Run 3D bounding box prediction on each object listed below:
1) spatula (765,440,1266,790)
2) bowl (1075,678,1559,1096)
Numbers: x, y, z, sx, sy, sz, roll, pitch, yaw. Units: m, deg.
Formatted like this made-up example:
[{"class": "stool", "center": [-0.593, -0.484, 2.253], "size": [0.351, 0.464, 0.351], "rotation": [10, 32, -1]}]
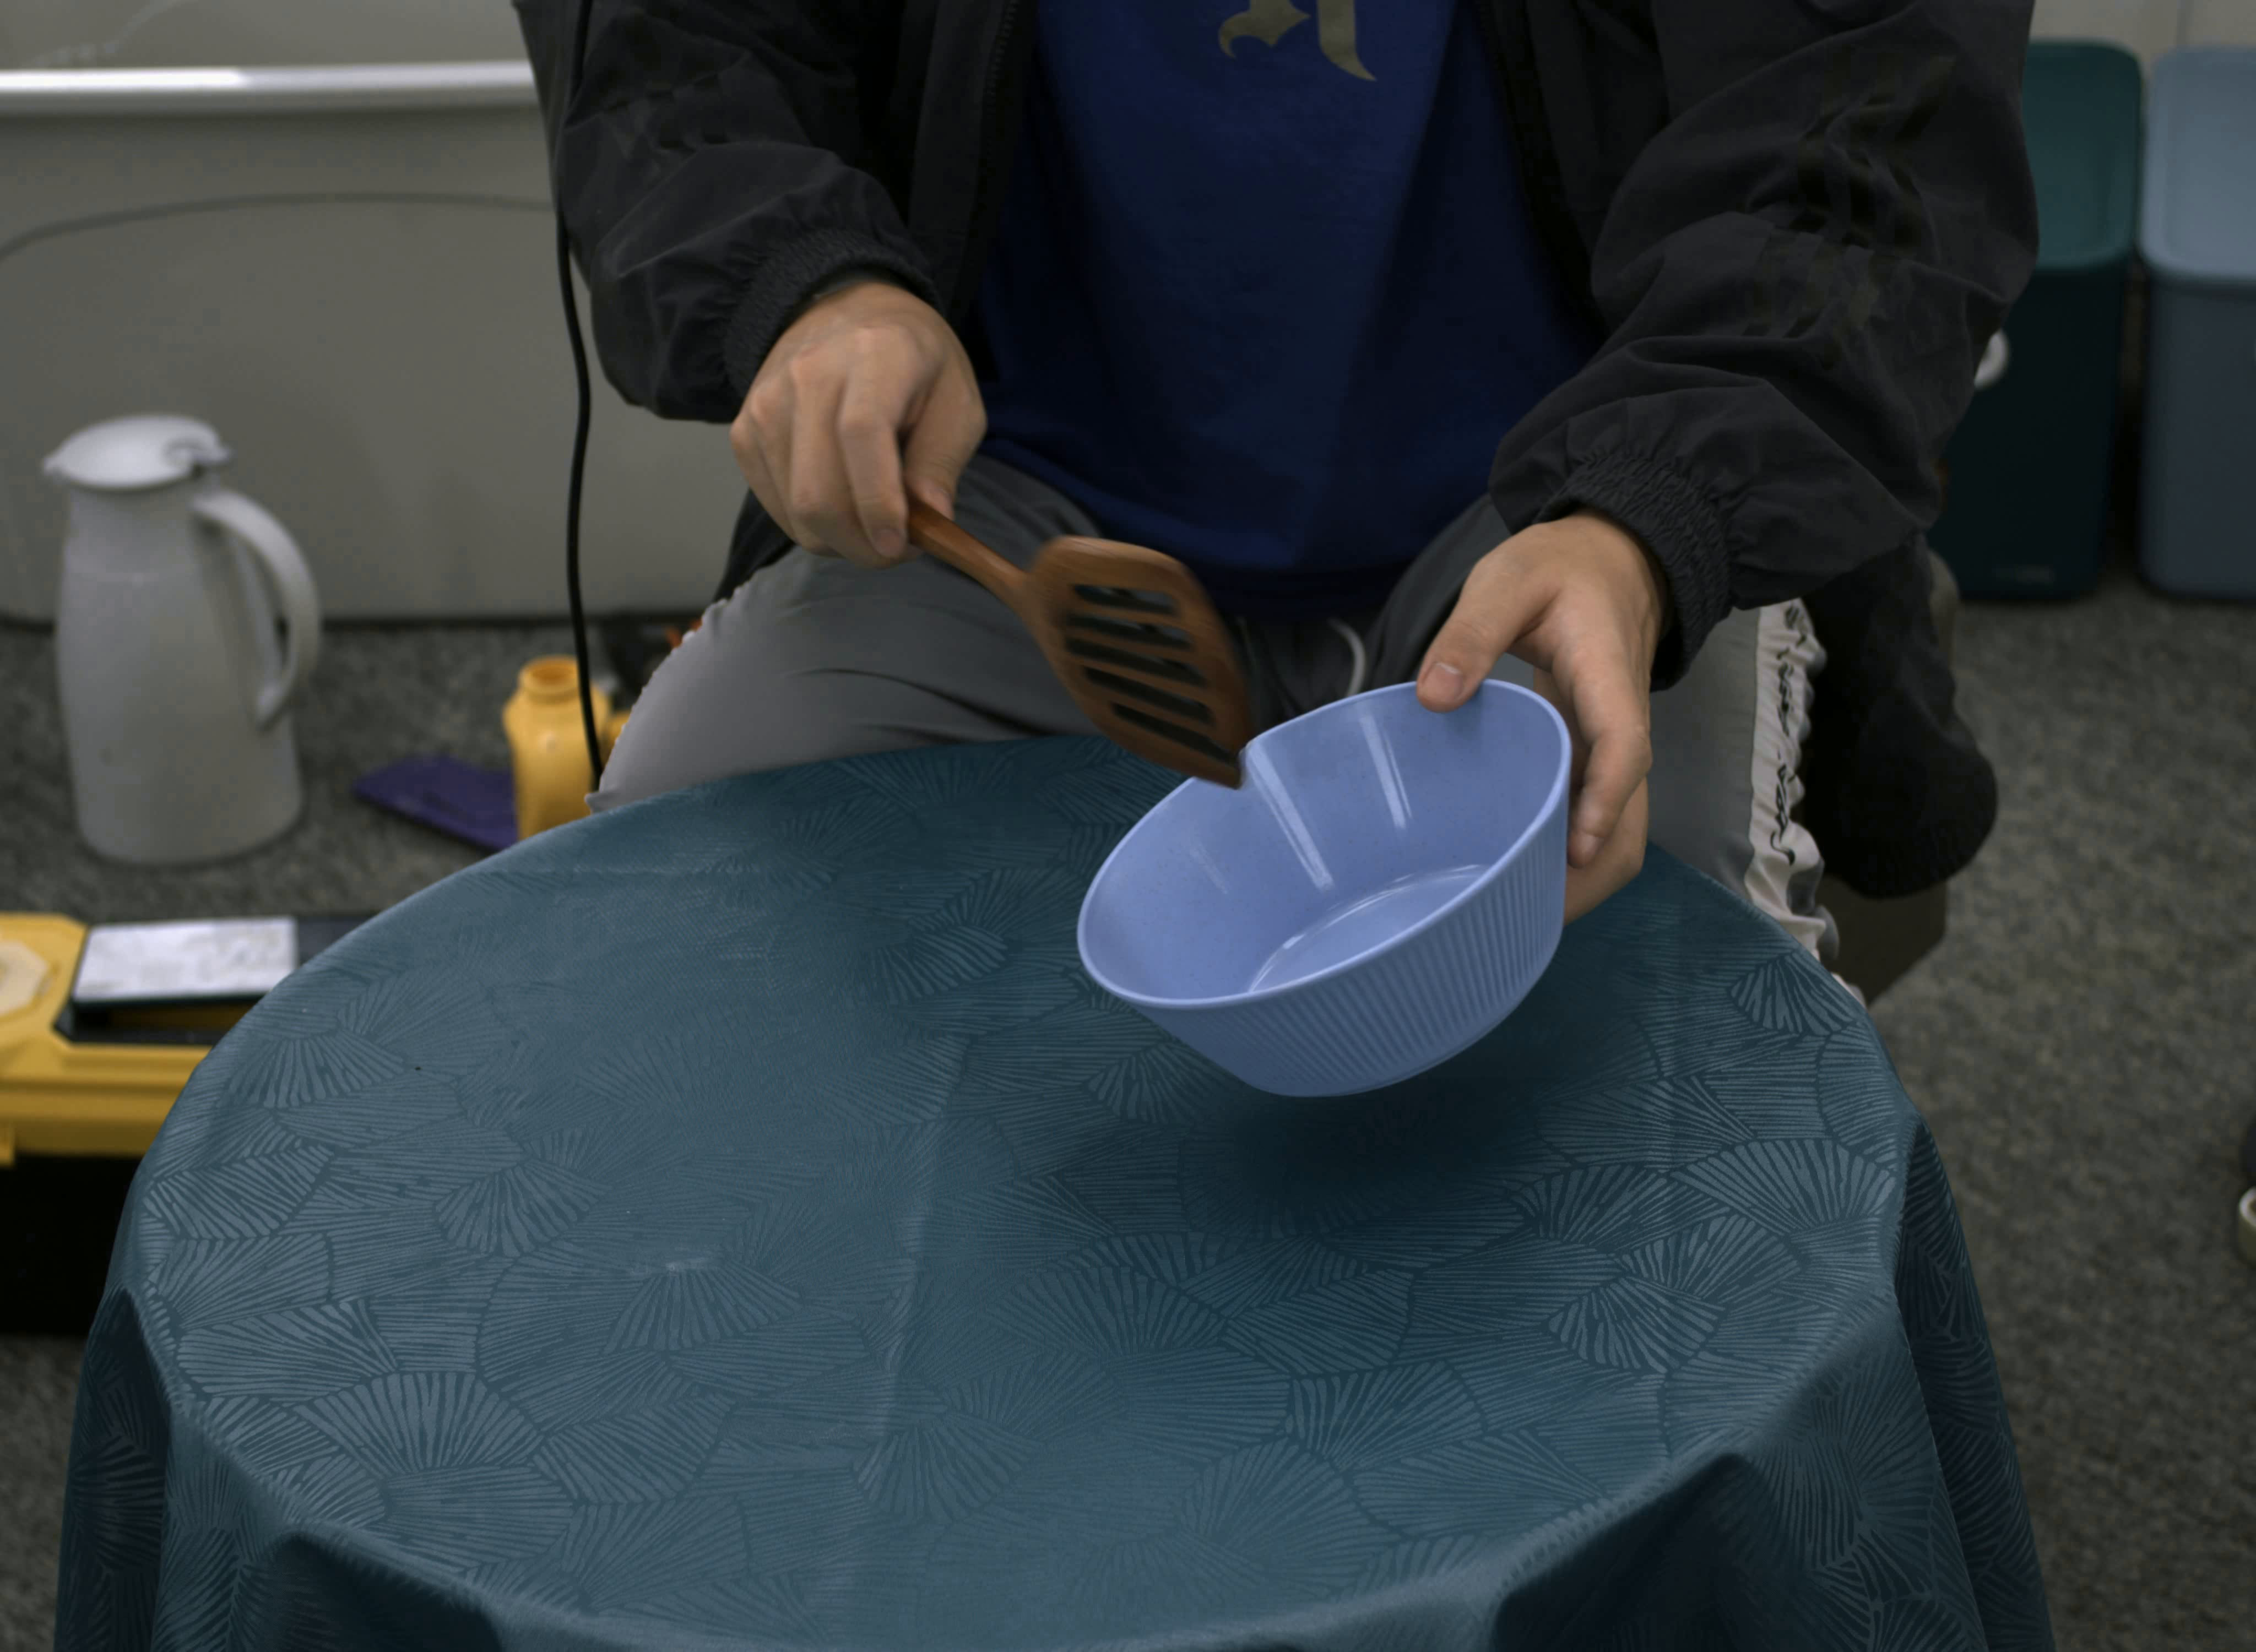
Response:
[{"class": "spatula", "center": [-0.051, -0.088, 1.936], "size": [0.024, 0.085, 0.387], "rotation": [-21, 22, -19]}, {"class": "bowl", "center": [0.074, 0.029, 1.850], "size": [0.174, 0.070, 0.179], "rotation": [-22, 25, 11]}]
